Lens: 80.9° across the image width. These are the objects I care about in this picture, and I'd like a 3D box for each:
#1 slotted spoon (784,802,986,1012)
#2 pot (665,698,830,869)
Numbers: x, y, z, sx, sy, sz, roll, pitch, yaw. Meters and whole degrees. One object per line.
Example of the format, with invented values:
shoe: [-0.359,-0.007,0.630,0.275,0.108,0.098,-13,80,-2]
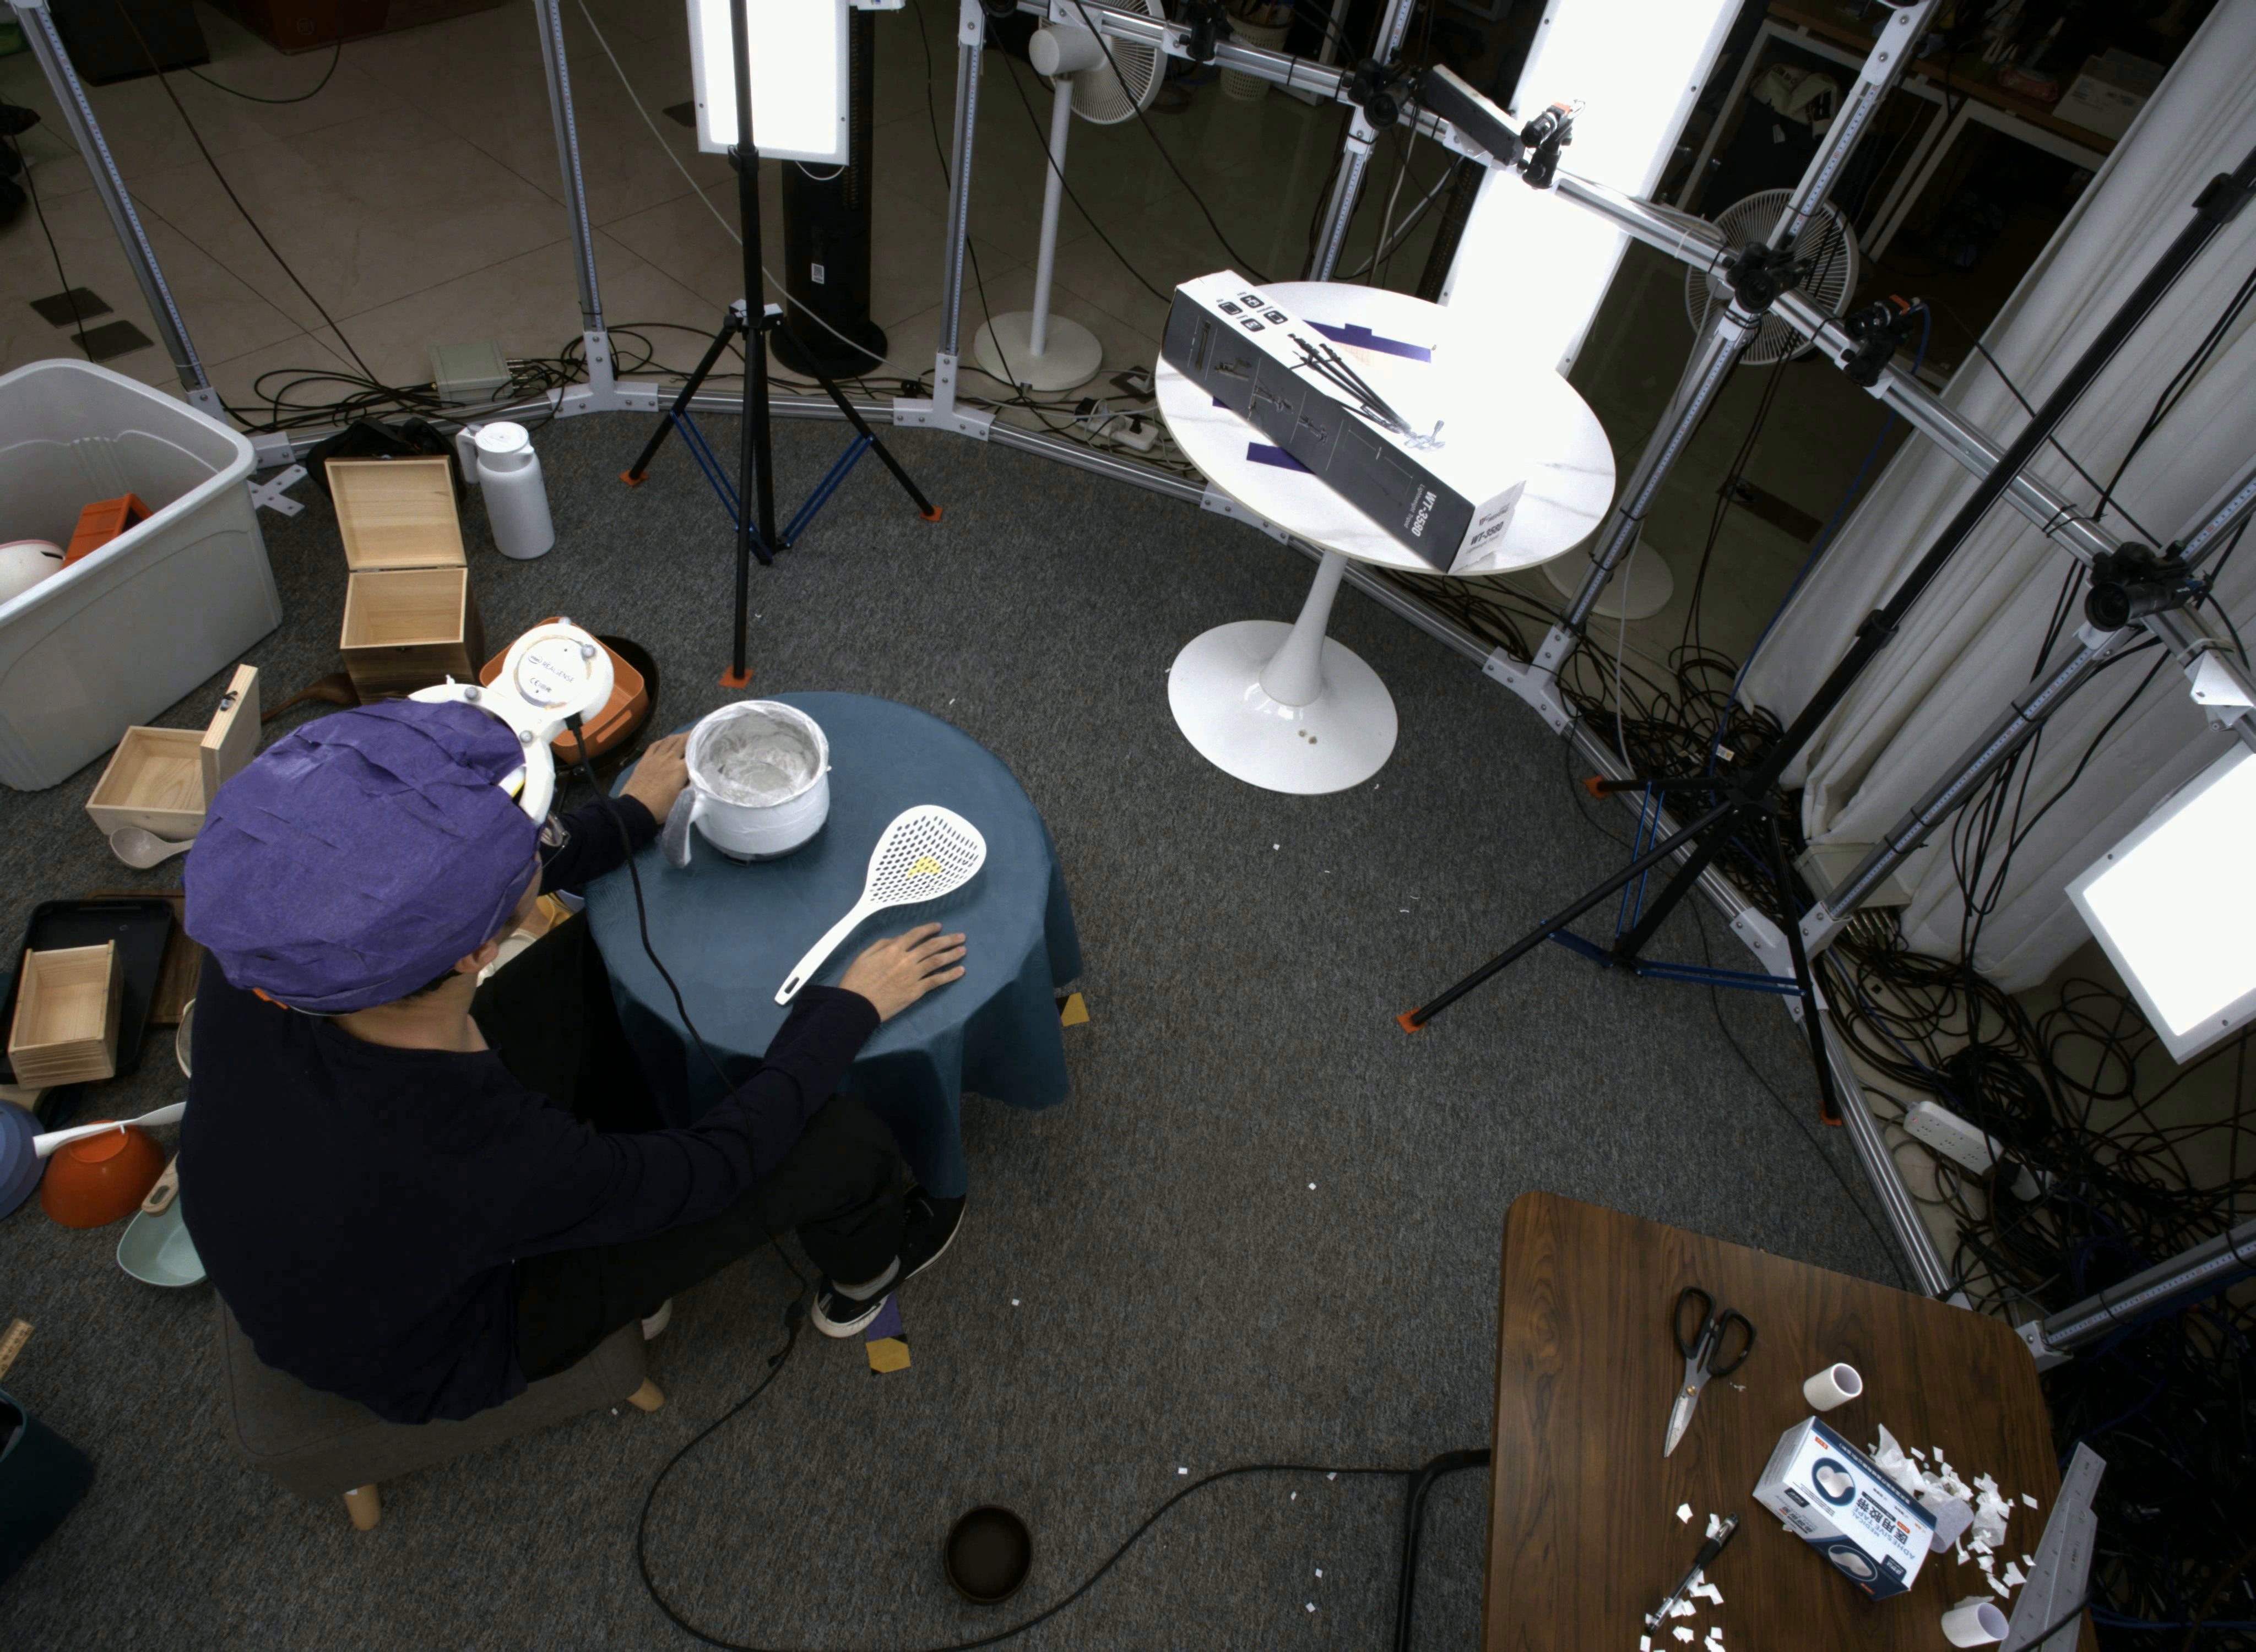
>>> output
slotted spoon: [-0.321,0.101,1.659,0.134,0.051,0.347,35,53,12]
pot: [-0.495,-0.042,1.660,0.174,0.140,0.234,37,54,18]
